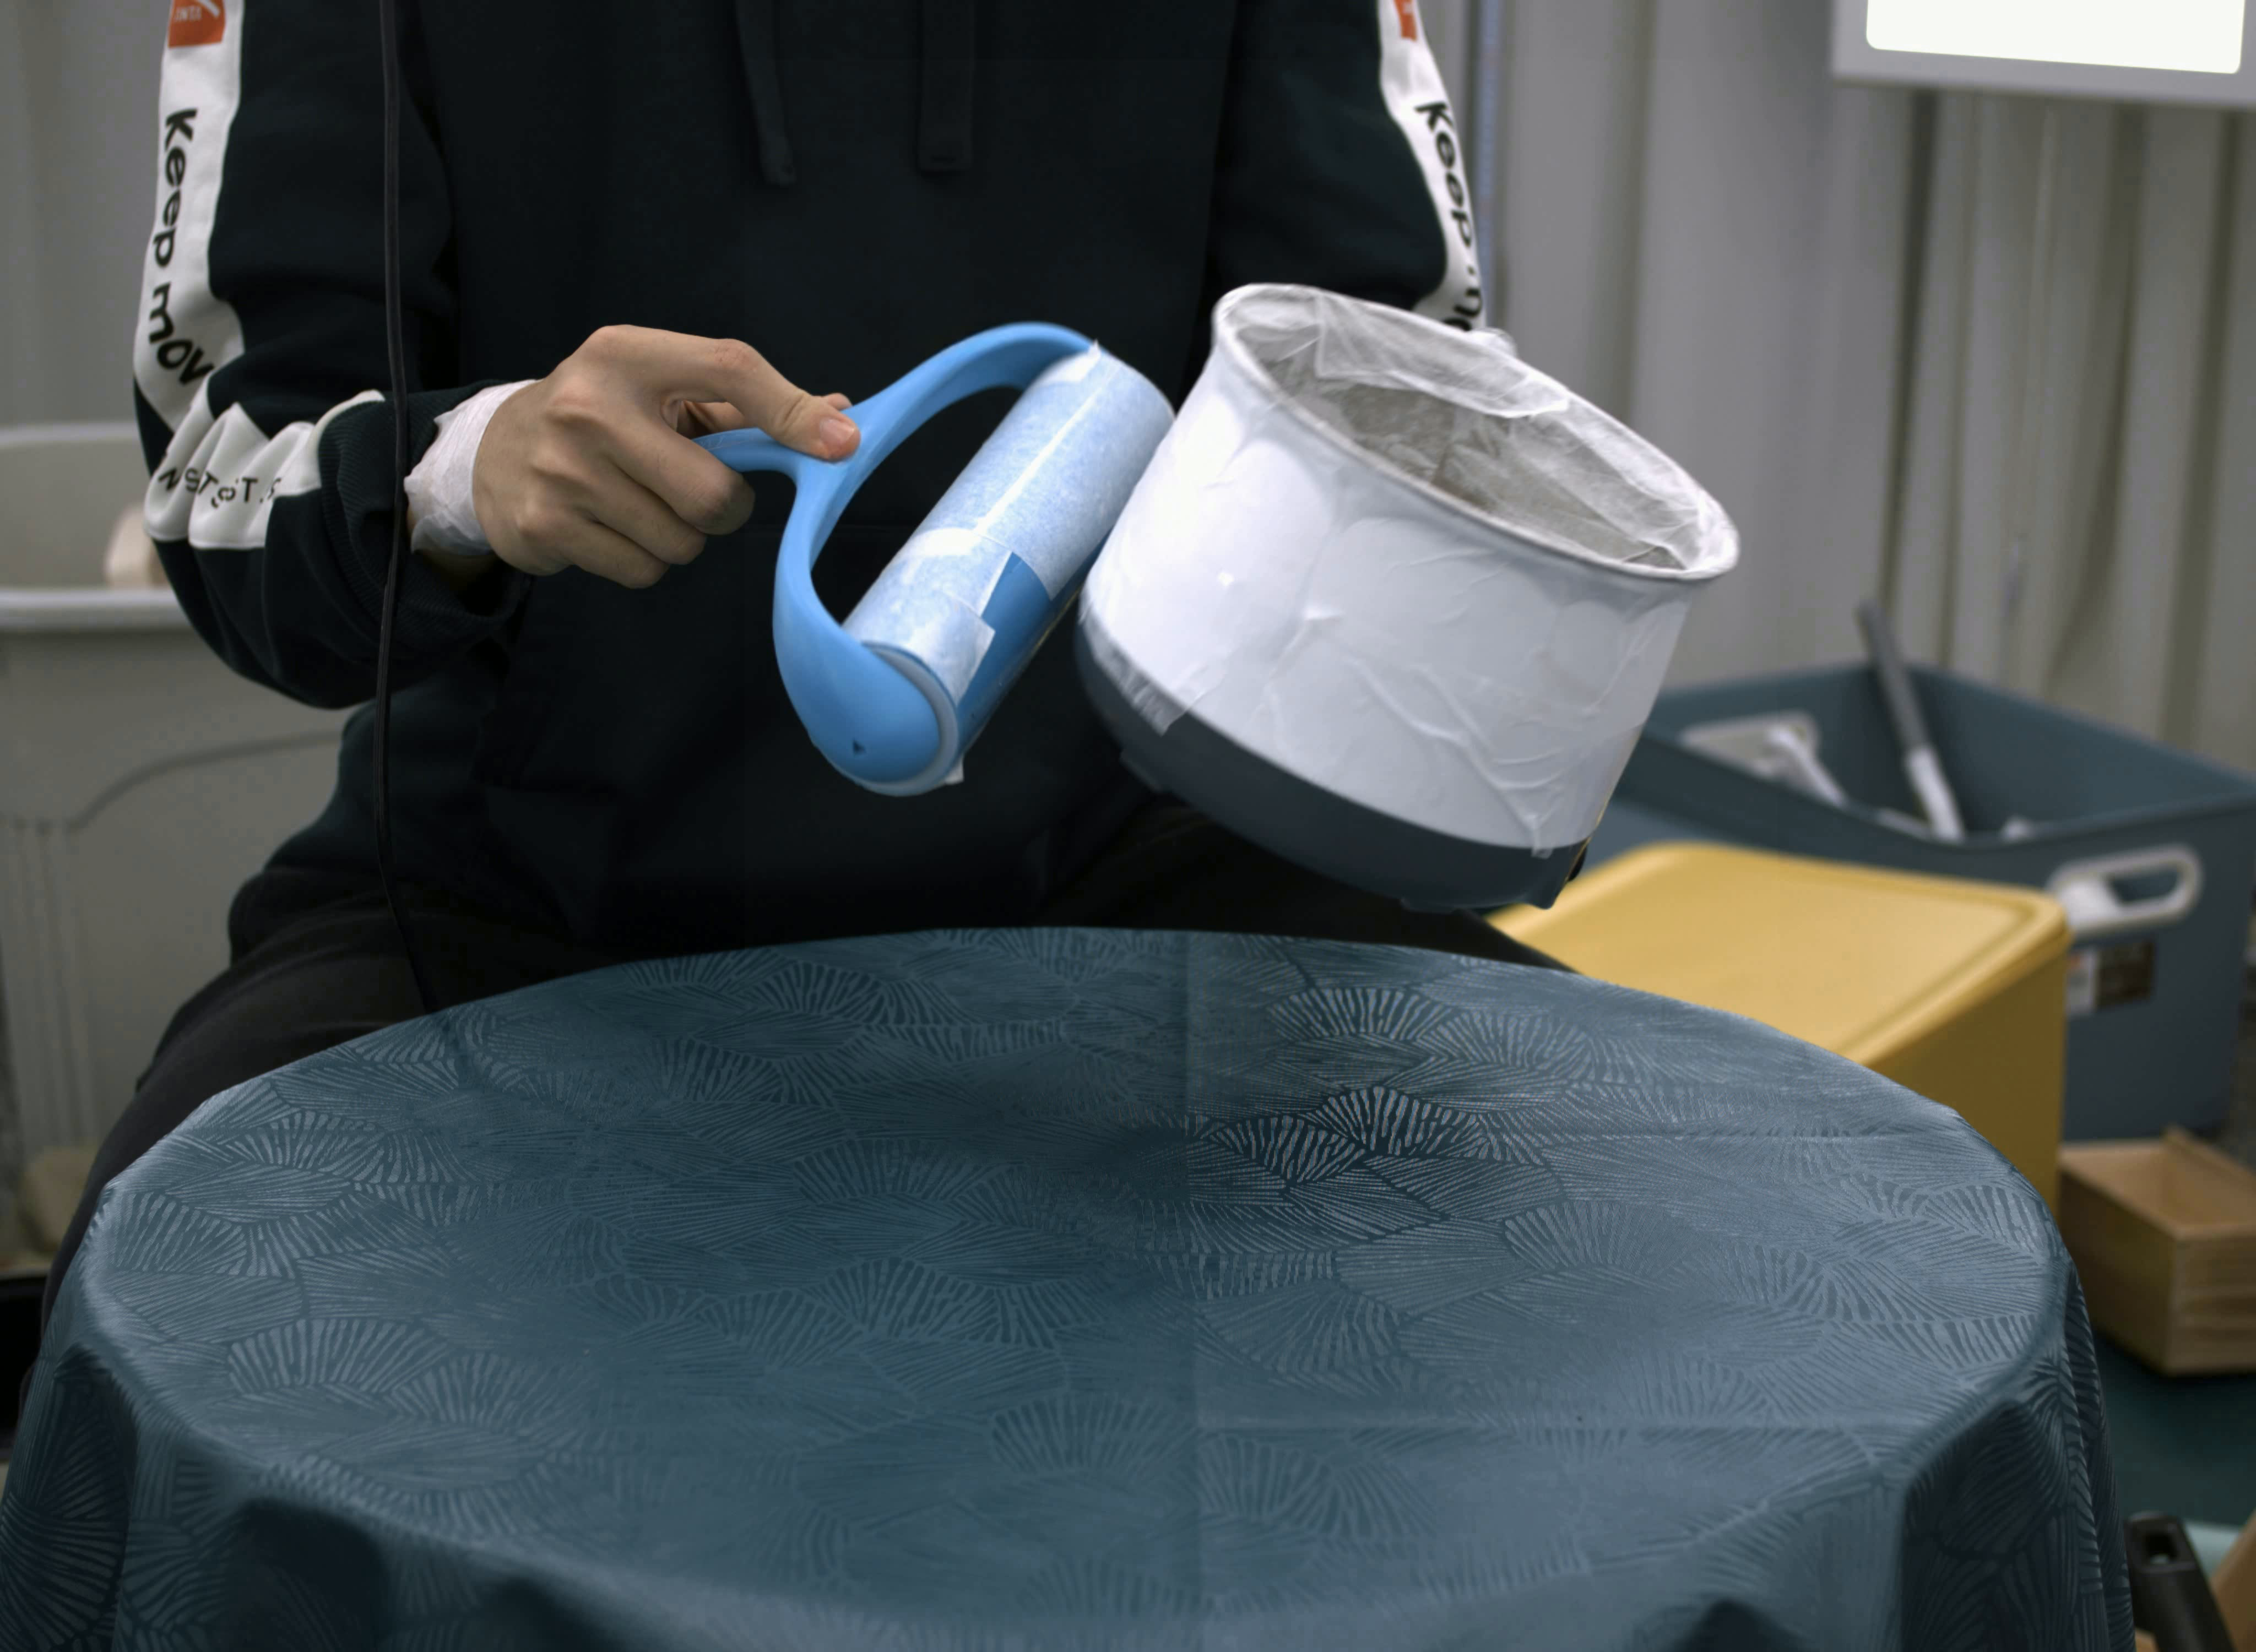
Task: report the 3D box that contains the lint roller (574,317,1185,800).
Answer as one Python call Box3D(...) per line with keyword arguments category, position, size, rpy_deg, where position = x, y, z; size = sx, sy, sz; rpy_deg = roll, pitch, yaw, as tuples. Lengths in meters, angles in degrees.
Box3D(category="lint roller", position=(-0.094, -0.095, 1.669), size=(0.179, 0.069, 0.228), rpy_deg=(12, 39, 12))

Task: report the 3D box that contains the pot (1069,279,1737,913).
Box3D(category="pot", position=(0.082, -0.078, 1.641), size=(0.178, 0.137, 0.232), rpy_deg=(25, 22, -4))
